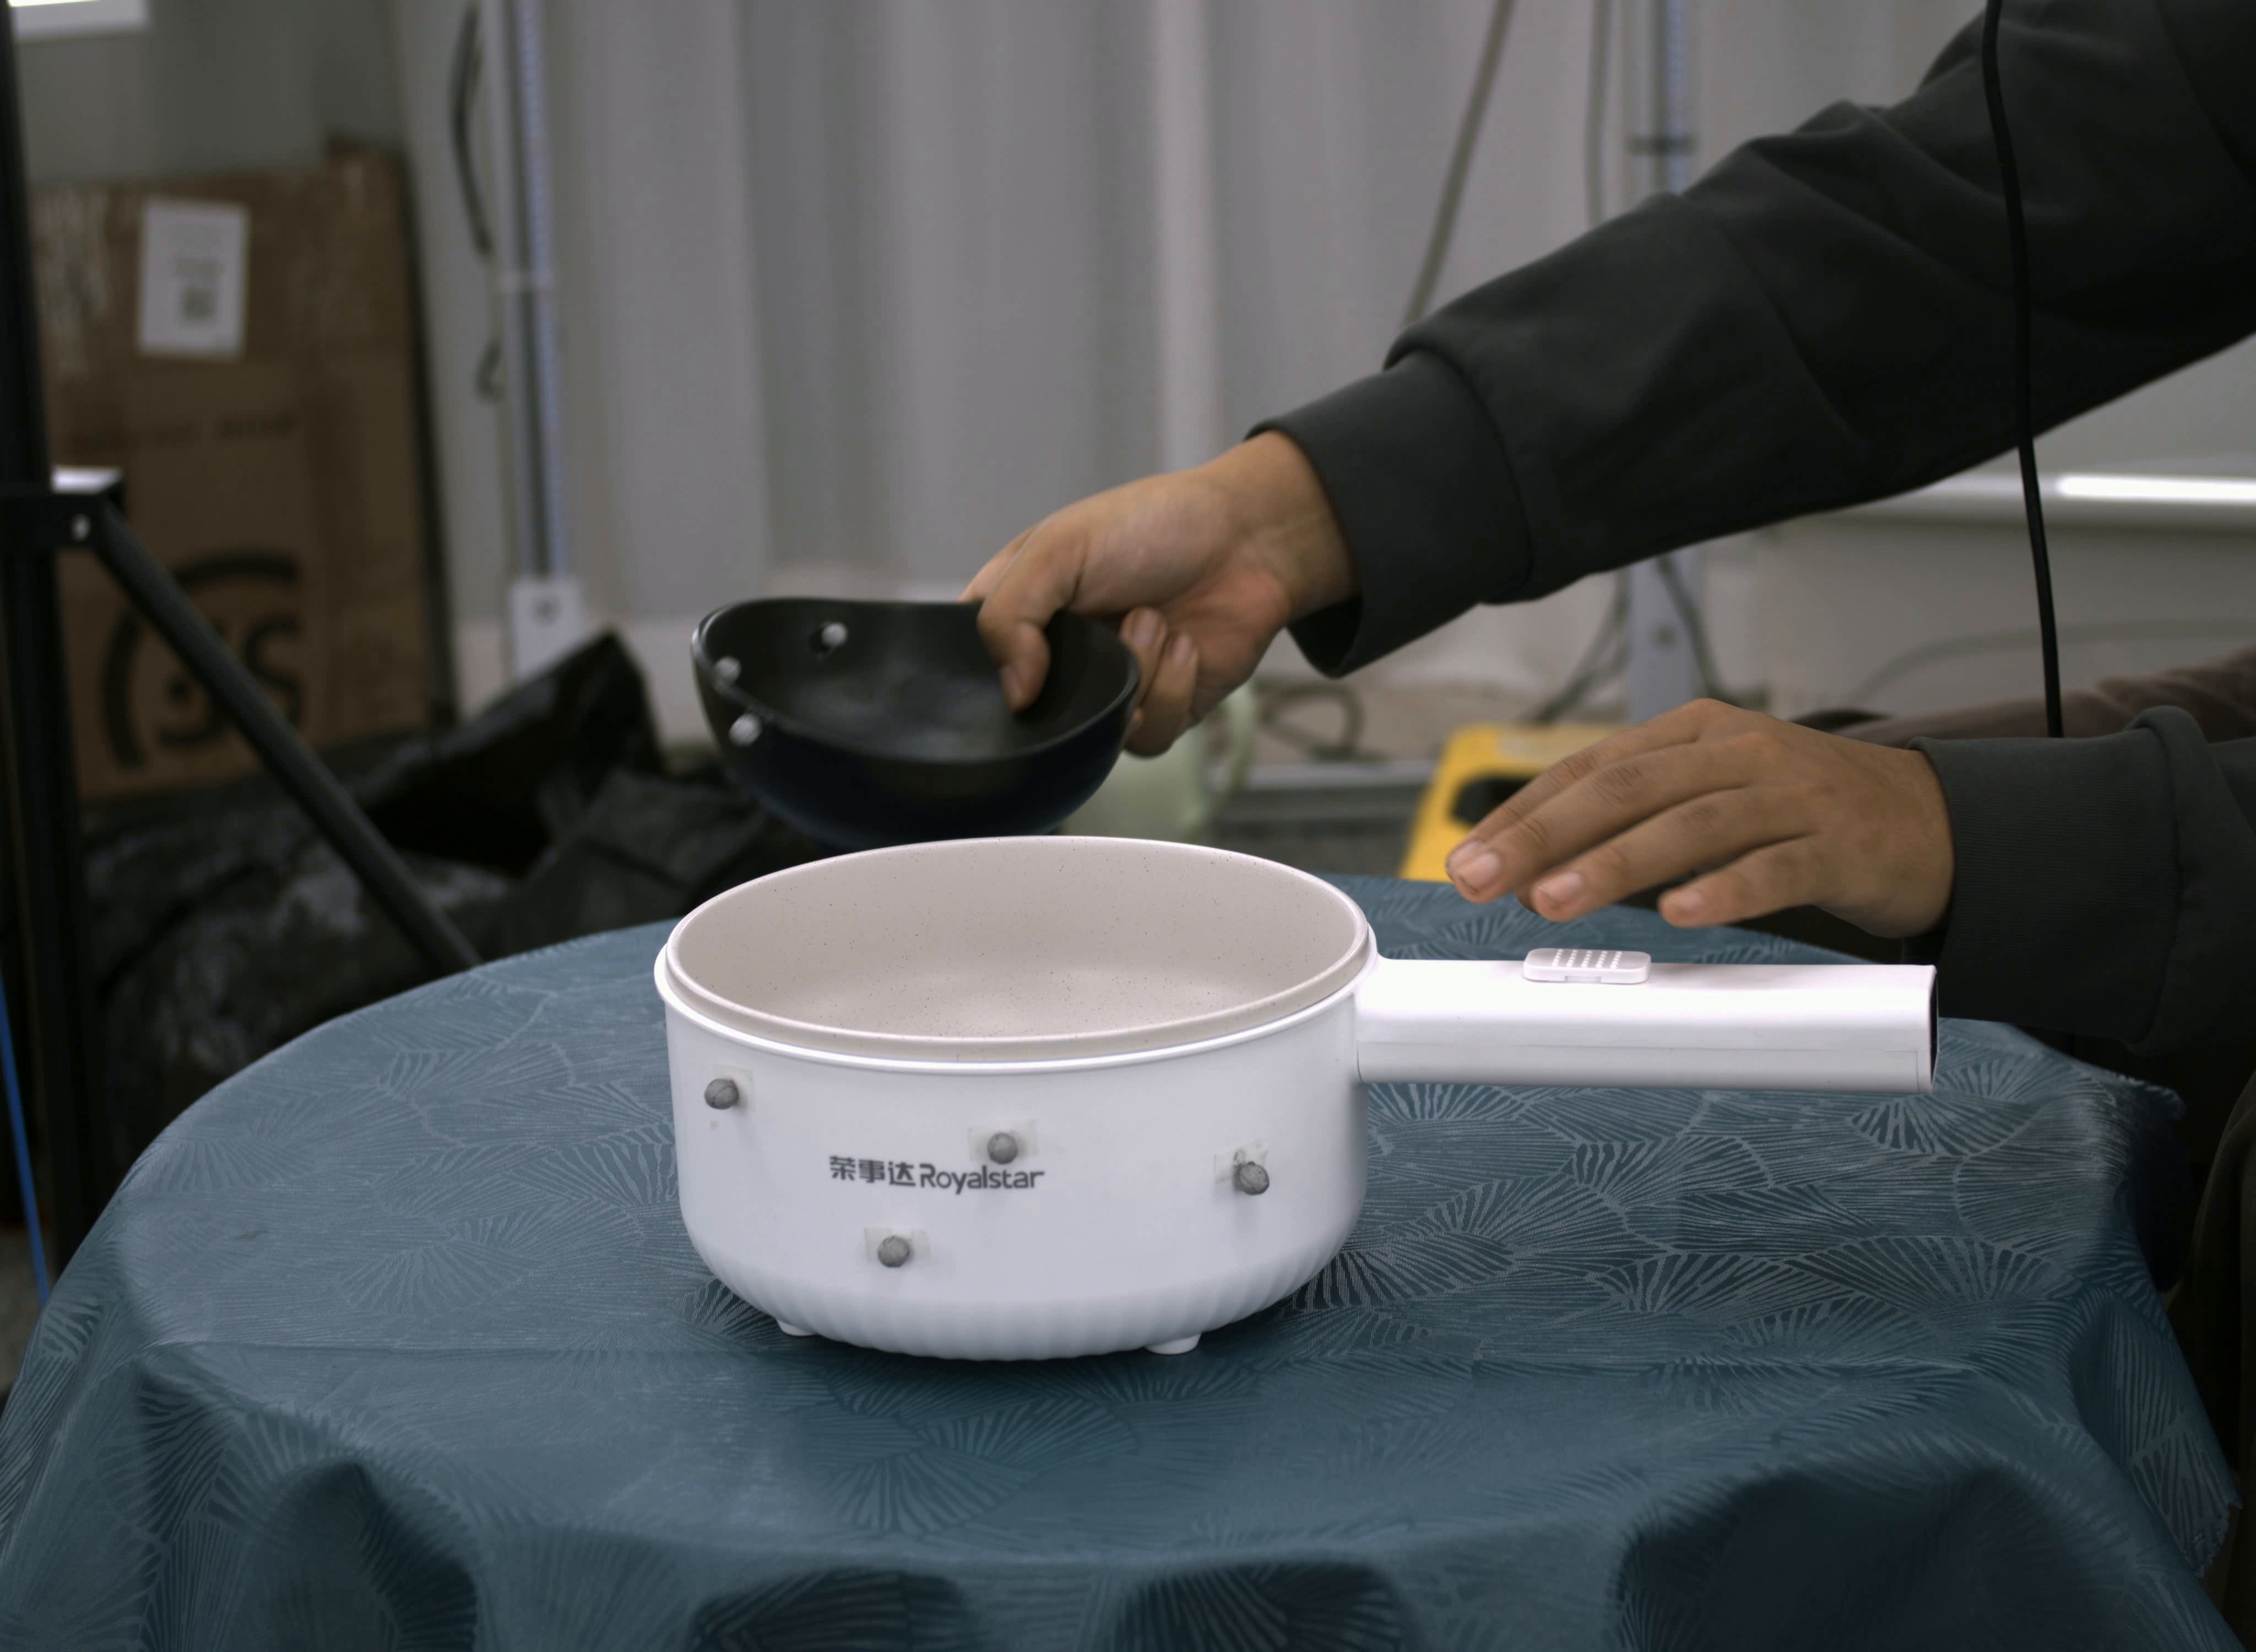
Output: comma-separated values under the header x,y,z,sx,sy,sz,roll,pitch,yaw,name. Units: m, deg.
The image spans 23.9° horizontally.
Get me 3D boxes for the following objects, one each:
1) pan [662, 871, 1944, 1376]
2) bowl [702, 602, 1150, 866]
x,y,z,sx,sy,sz,roll,pitch,yaw,name
0.046,0.089,1.467,0.357,0.102,0.200,3,13,12,pan
-0.064,-0.028,1.641,0.136,0.067,0.172,1,18,-8,bowl
